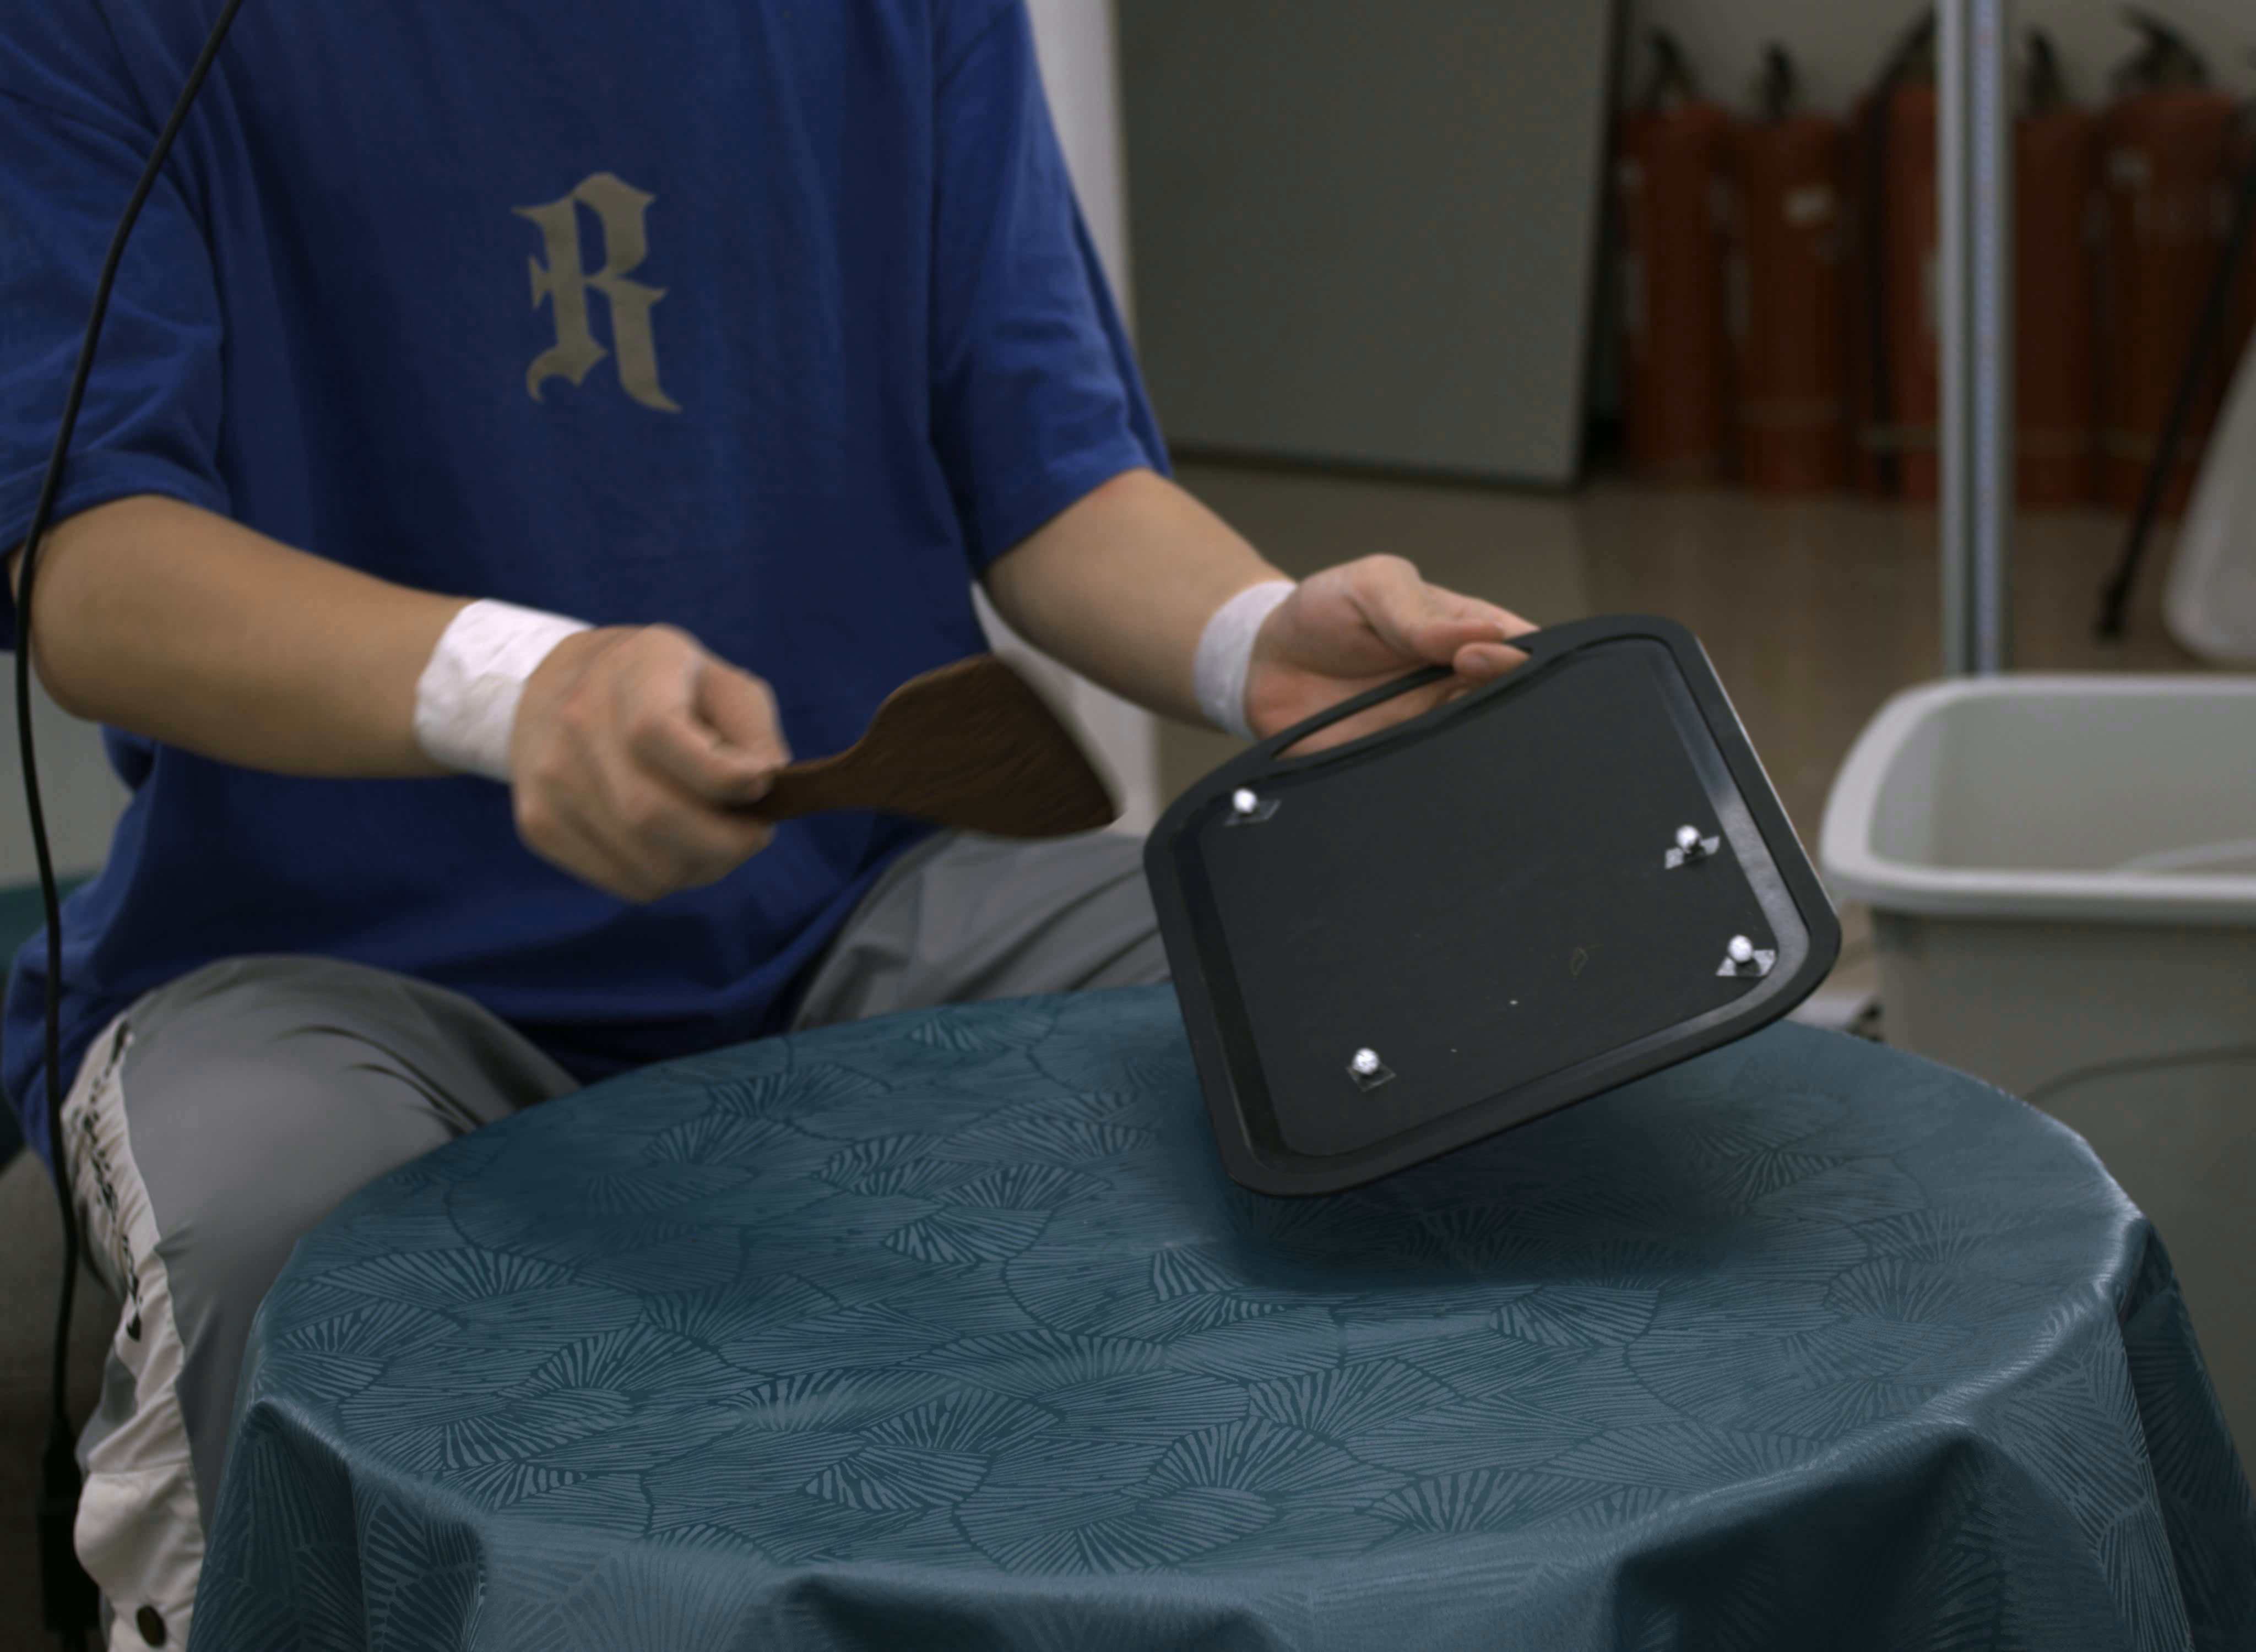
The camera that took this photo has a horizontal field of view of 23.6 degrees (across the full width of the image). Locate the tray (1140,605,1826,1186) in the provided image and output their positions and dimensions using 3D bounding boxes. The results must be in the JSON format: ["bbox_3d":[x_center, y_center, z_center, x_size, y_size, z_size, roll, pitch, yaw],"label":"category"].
[{"bbox_3d":[0.109,0.013,1.792,0.209,0.010,0.327,-23,26,5],"label":"tray"}]

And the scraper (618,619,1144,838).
[{"bbox_3d":[-0.087,-0.021,1.730,0.213,0.075,0.011,-11,35,42],"label":"scraper"}]
